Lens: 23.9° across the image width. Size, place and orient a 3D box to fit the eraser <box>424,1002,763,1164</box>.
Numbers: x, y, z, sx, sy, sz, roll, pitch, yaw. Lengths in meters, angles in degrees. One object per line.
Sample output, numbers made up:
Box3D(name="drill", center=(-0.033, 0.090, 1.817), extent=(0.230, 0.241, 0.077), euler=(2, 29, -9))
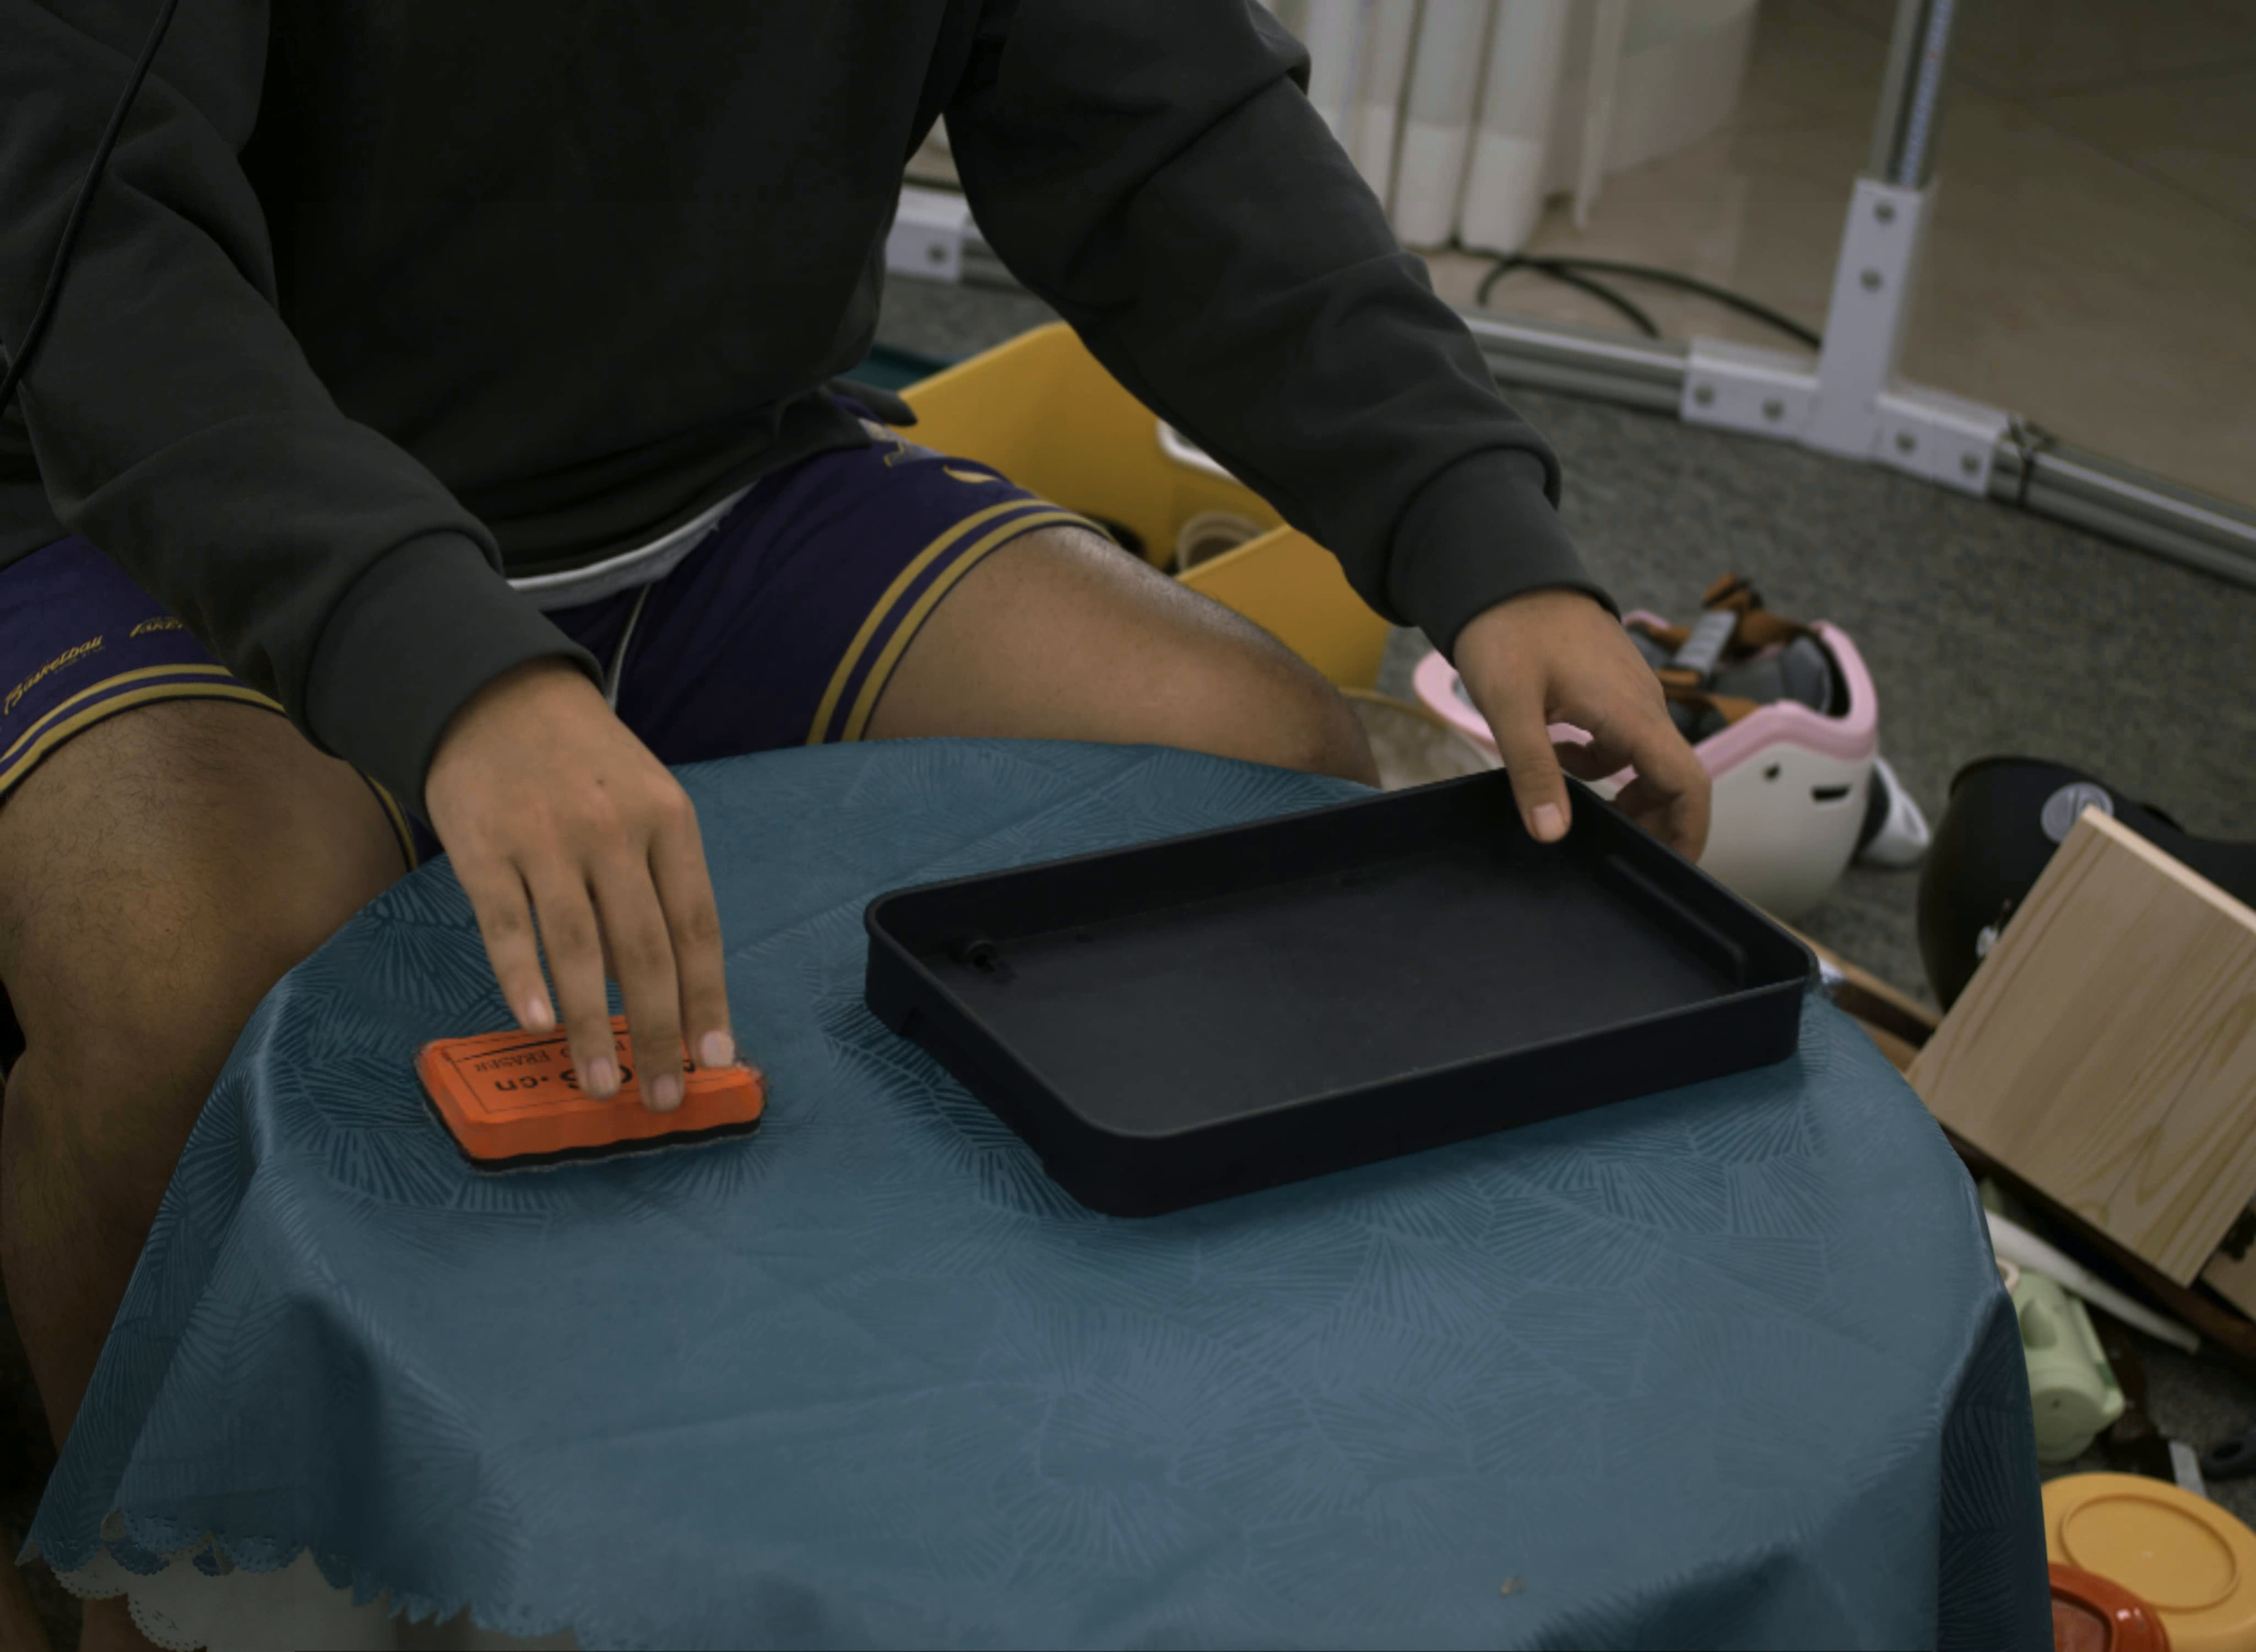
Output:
Box3D(name="eraser", center=(-0.181, 0.087, 1.801), extent=(0.107, 0.023, 0.059), euler=(-9, 23, -25))

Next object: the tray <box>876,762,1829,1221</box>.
Box3D(name="tray", center=(0.081, 0.054, 1.918), extent=(0.316, 0.037, 0.186), euler=(-13, 32, -32))
